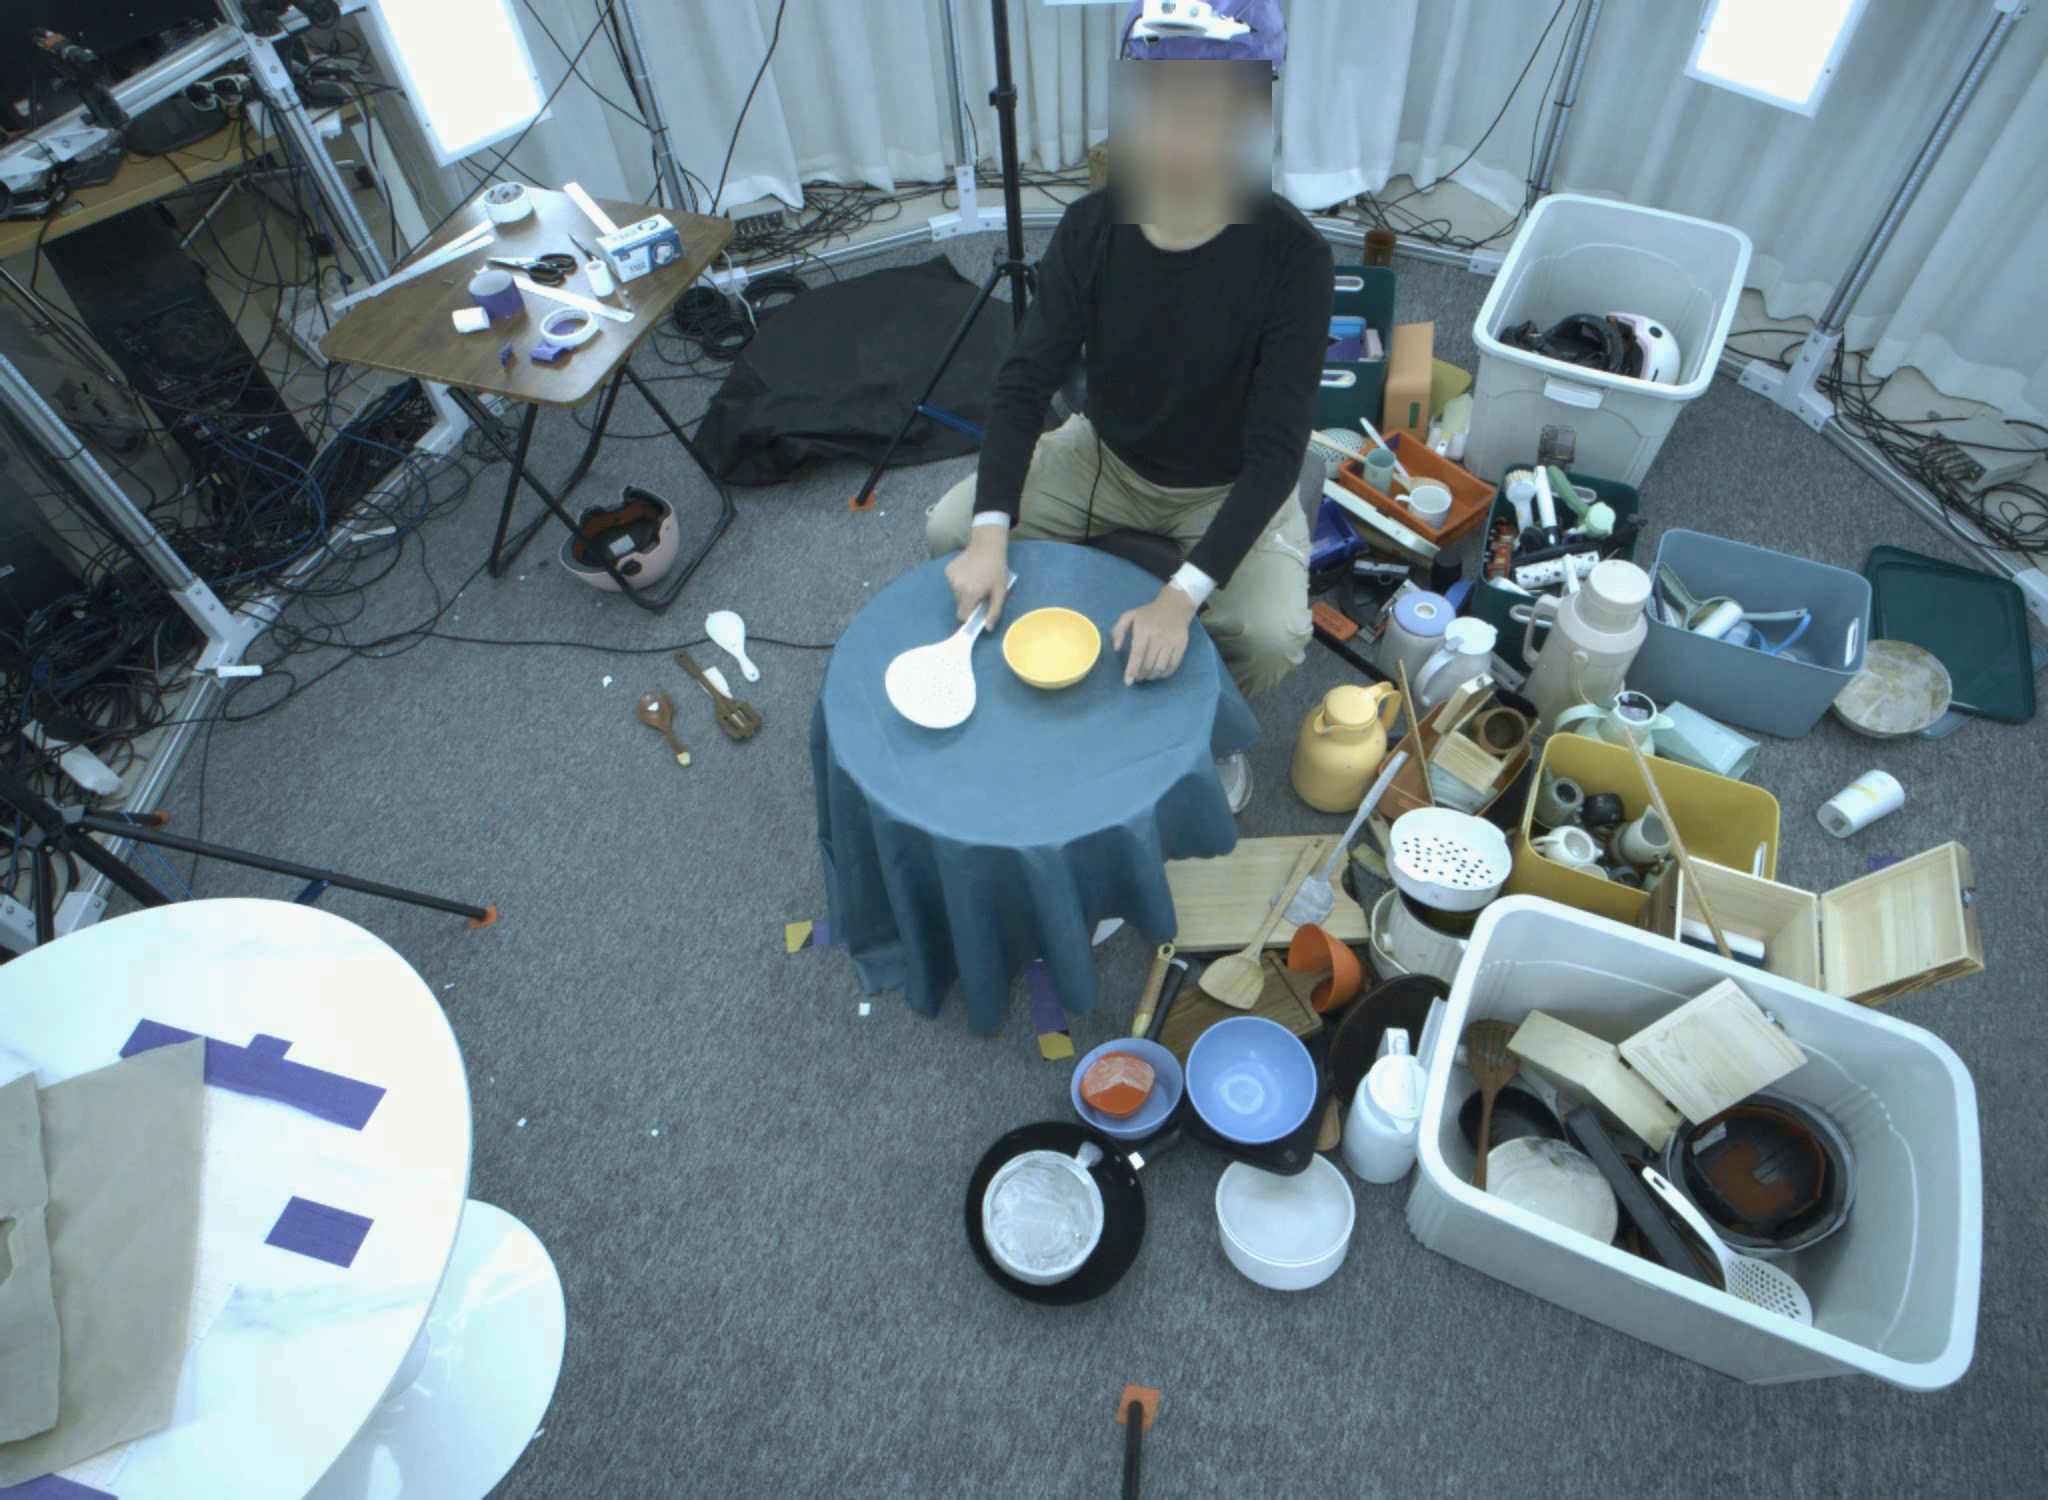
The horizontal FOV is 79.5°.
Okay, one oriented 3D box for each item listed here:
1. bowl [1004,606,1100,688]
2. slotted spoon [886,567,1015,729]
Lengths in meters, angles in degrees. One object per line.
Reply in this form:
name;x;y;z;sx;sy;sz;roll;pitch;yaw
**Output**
bowl;0.043;-0.143;1.853;0.145;0.061;0.144;-1;57;2
slotted spoon;-0.097;-0.165;1.871;0.137;0.045;0.350;32;59;-5
